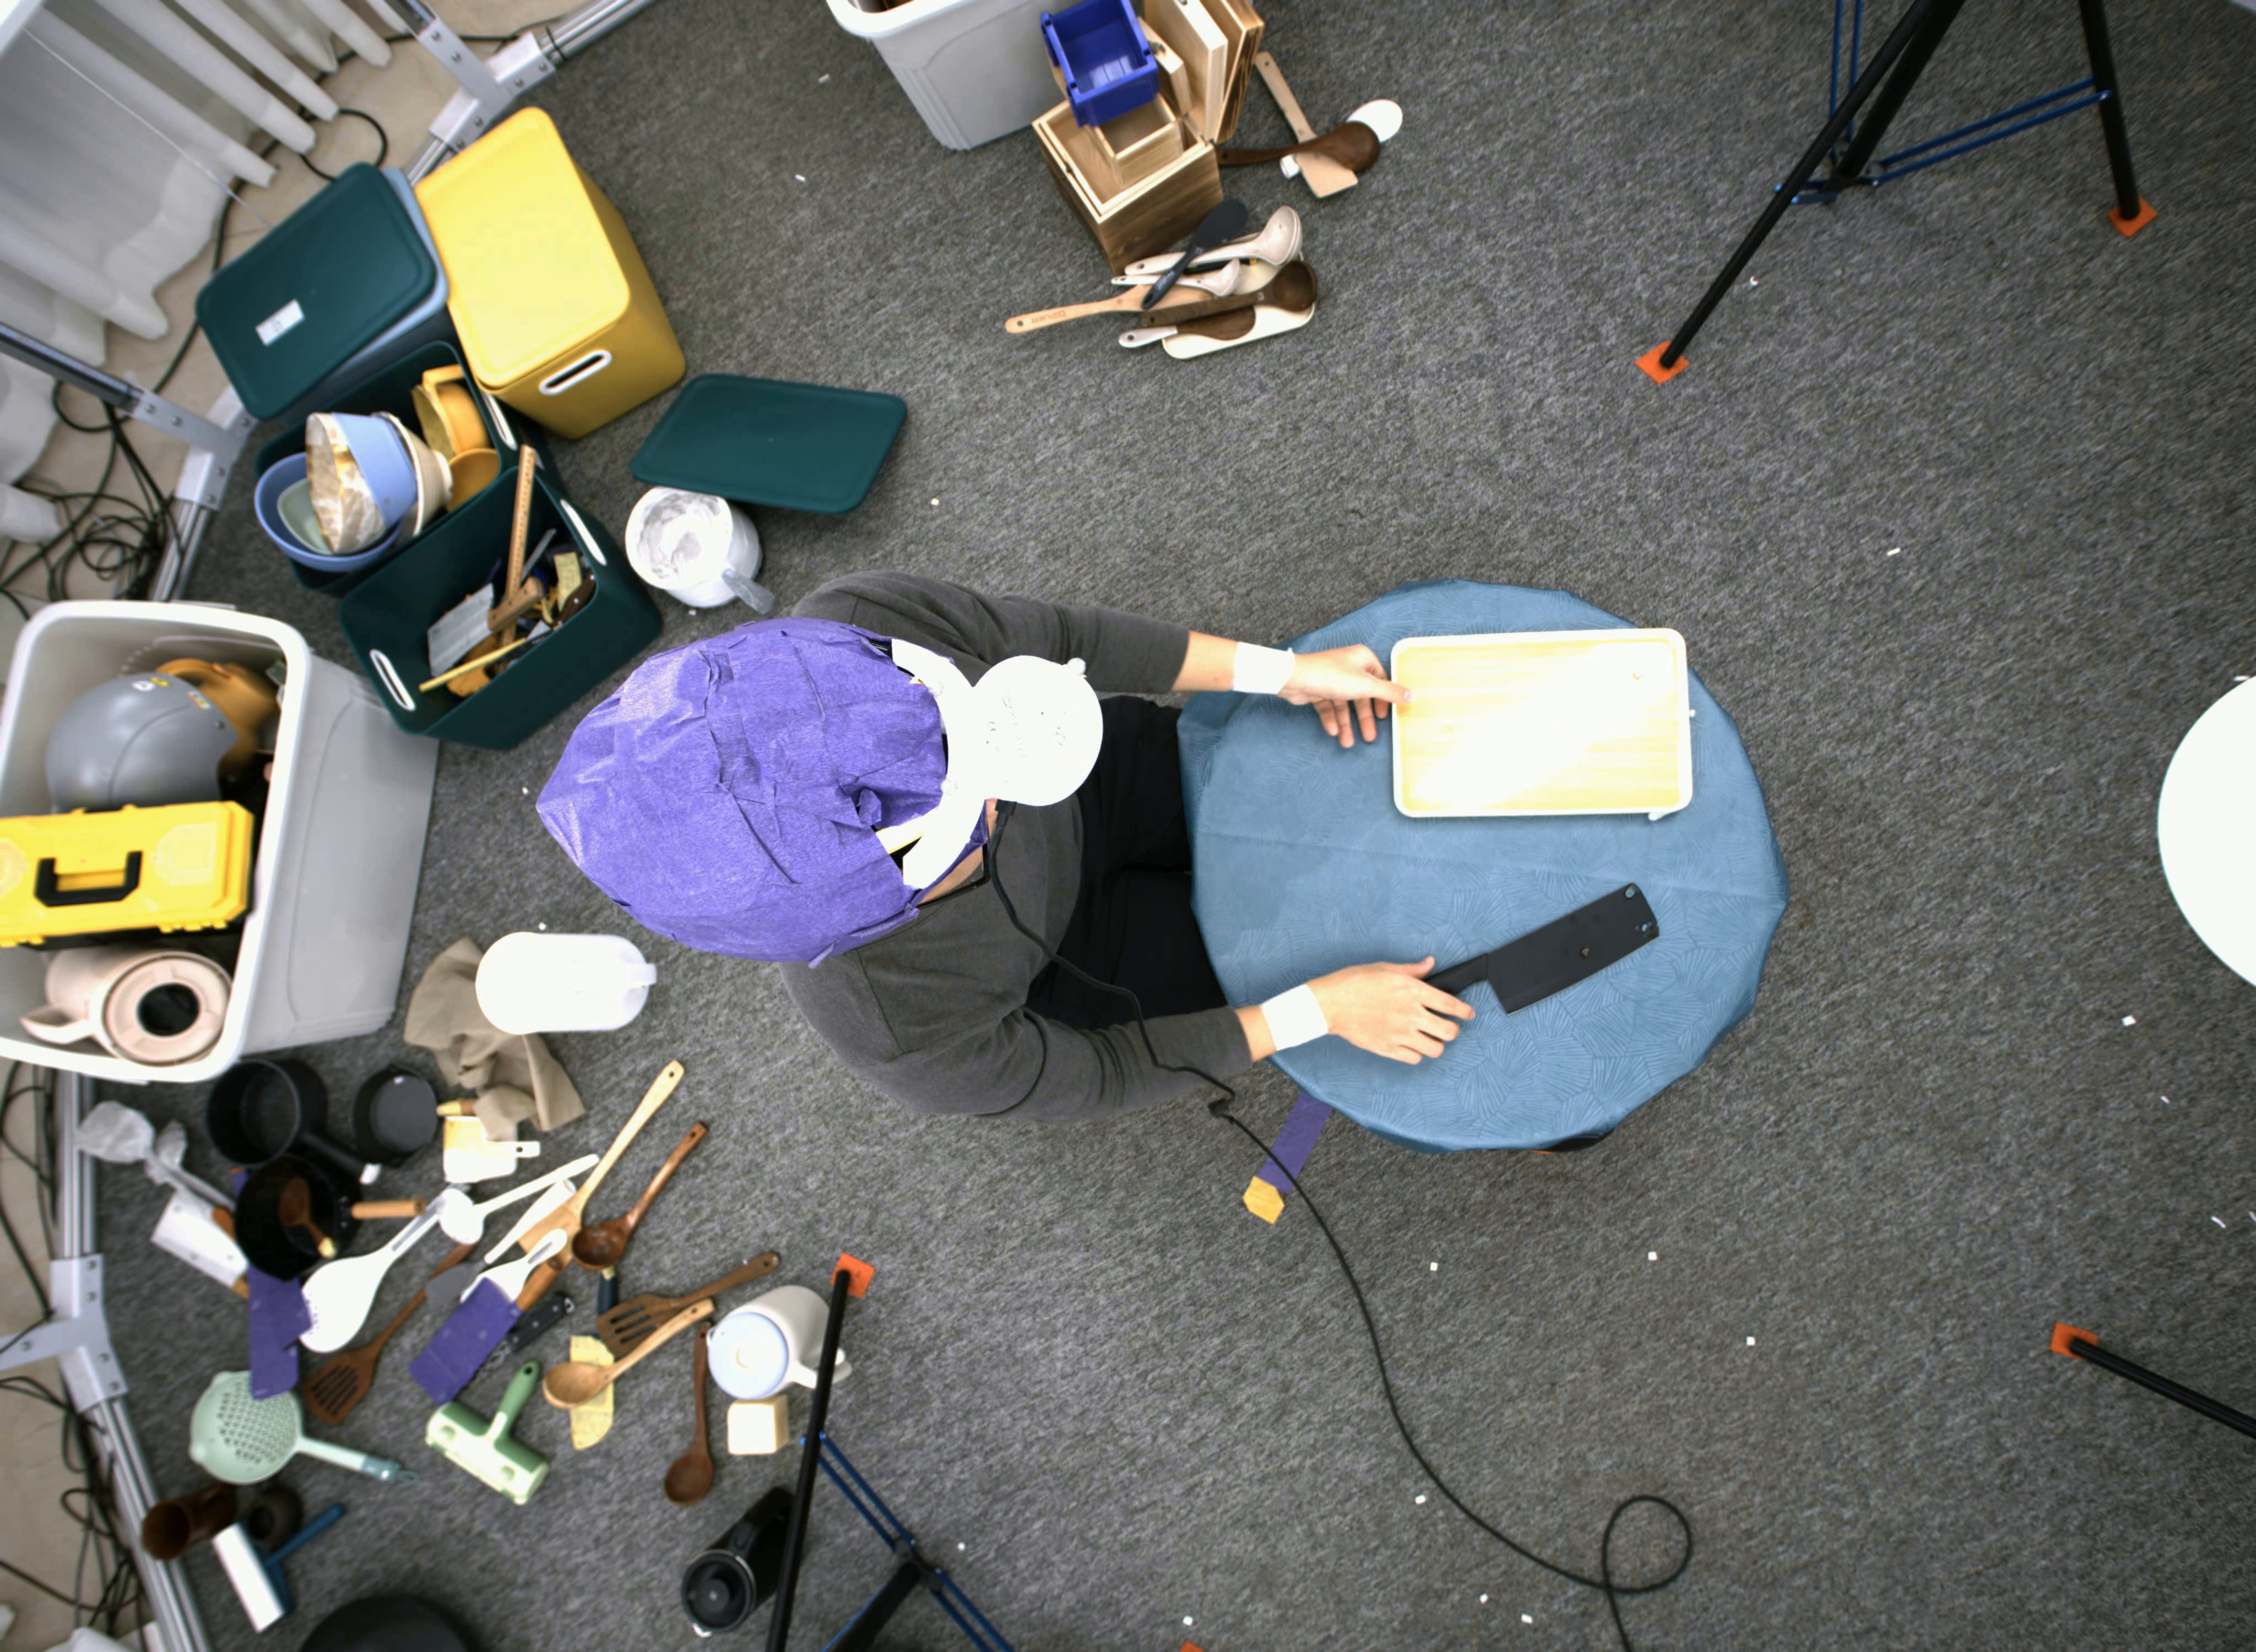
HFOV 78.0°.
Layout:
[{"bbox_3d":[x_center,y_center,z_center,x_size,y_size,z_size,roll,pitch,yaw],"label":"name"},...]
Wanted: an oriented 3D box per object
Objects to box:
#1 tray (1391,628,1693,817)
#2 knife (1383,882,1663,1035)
[{"bbox_3d":[0.427,-0.109,1.427,0.301,0.027,0.190,-1,86,11],"label":"tray"},{"bbox_3d":[0.403,0.146,1.424,0.304,0.021,0.080,-23,84,7],"label":"knife"}]
